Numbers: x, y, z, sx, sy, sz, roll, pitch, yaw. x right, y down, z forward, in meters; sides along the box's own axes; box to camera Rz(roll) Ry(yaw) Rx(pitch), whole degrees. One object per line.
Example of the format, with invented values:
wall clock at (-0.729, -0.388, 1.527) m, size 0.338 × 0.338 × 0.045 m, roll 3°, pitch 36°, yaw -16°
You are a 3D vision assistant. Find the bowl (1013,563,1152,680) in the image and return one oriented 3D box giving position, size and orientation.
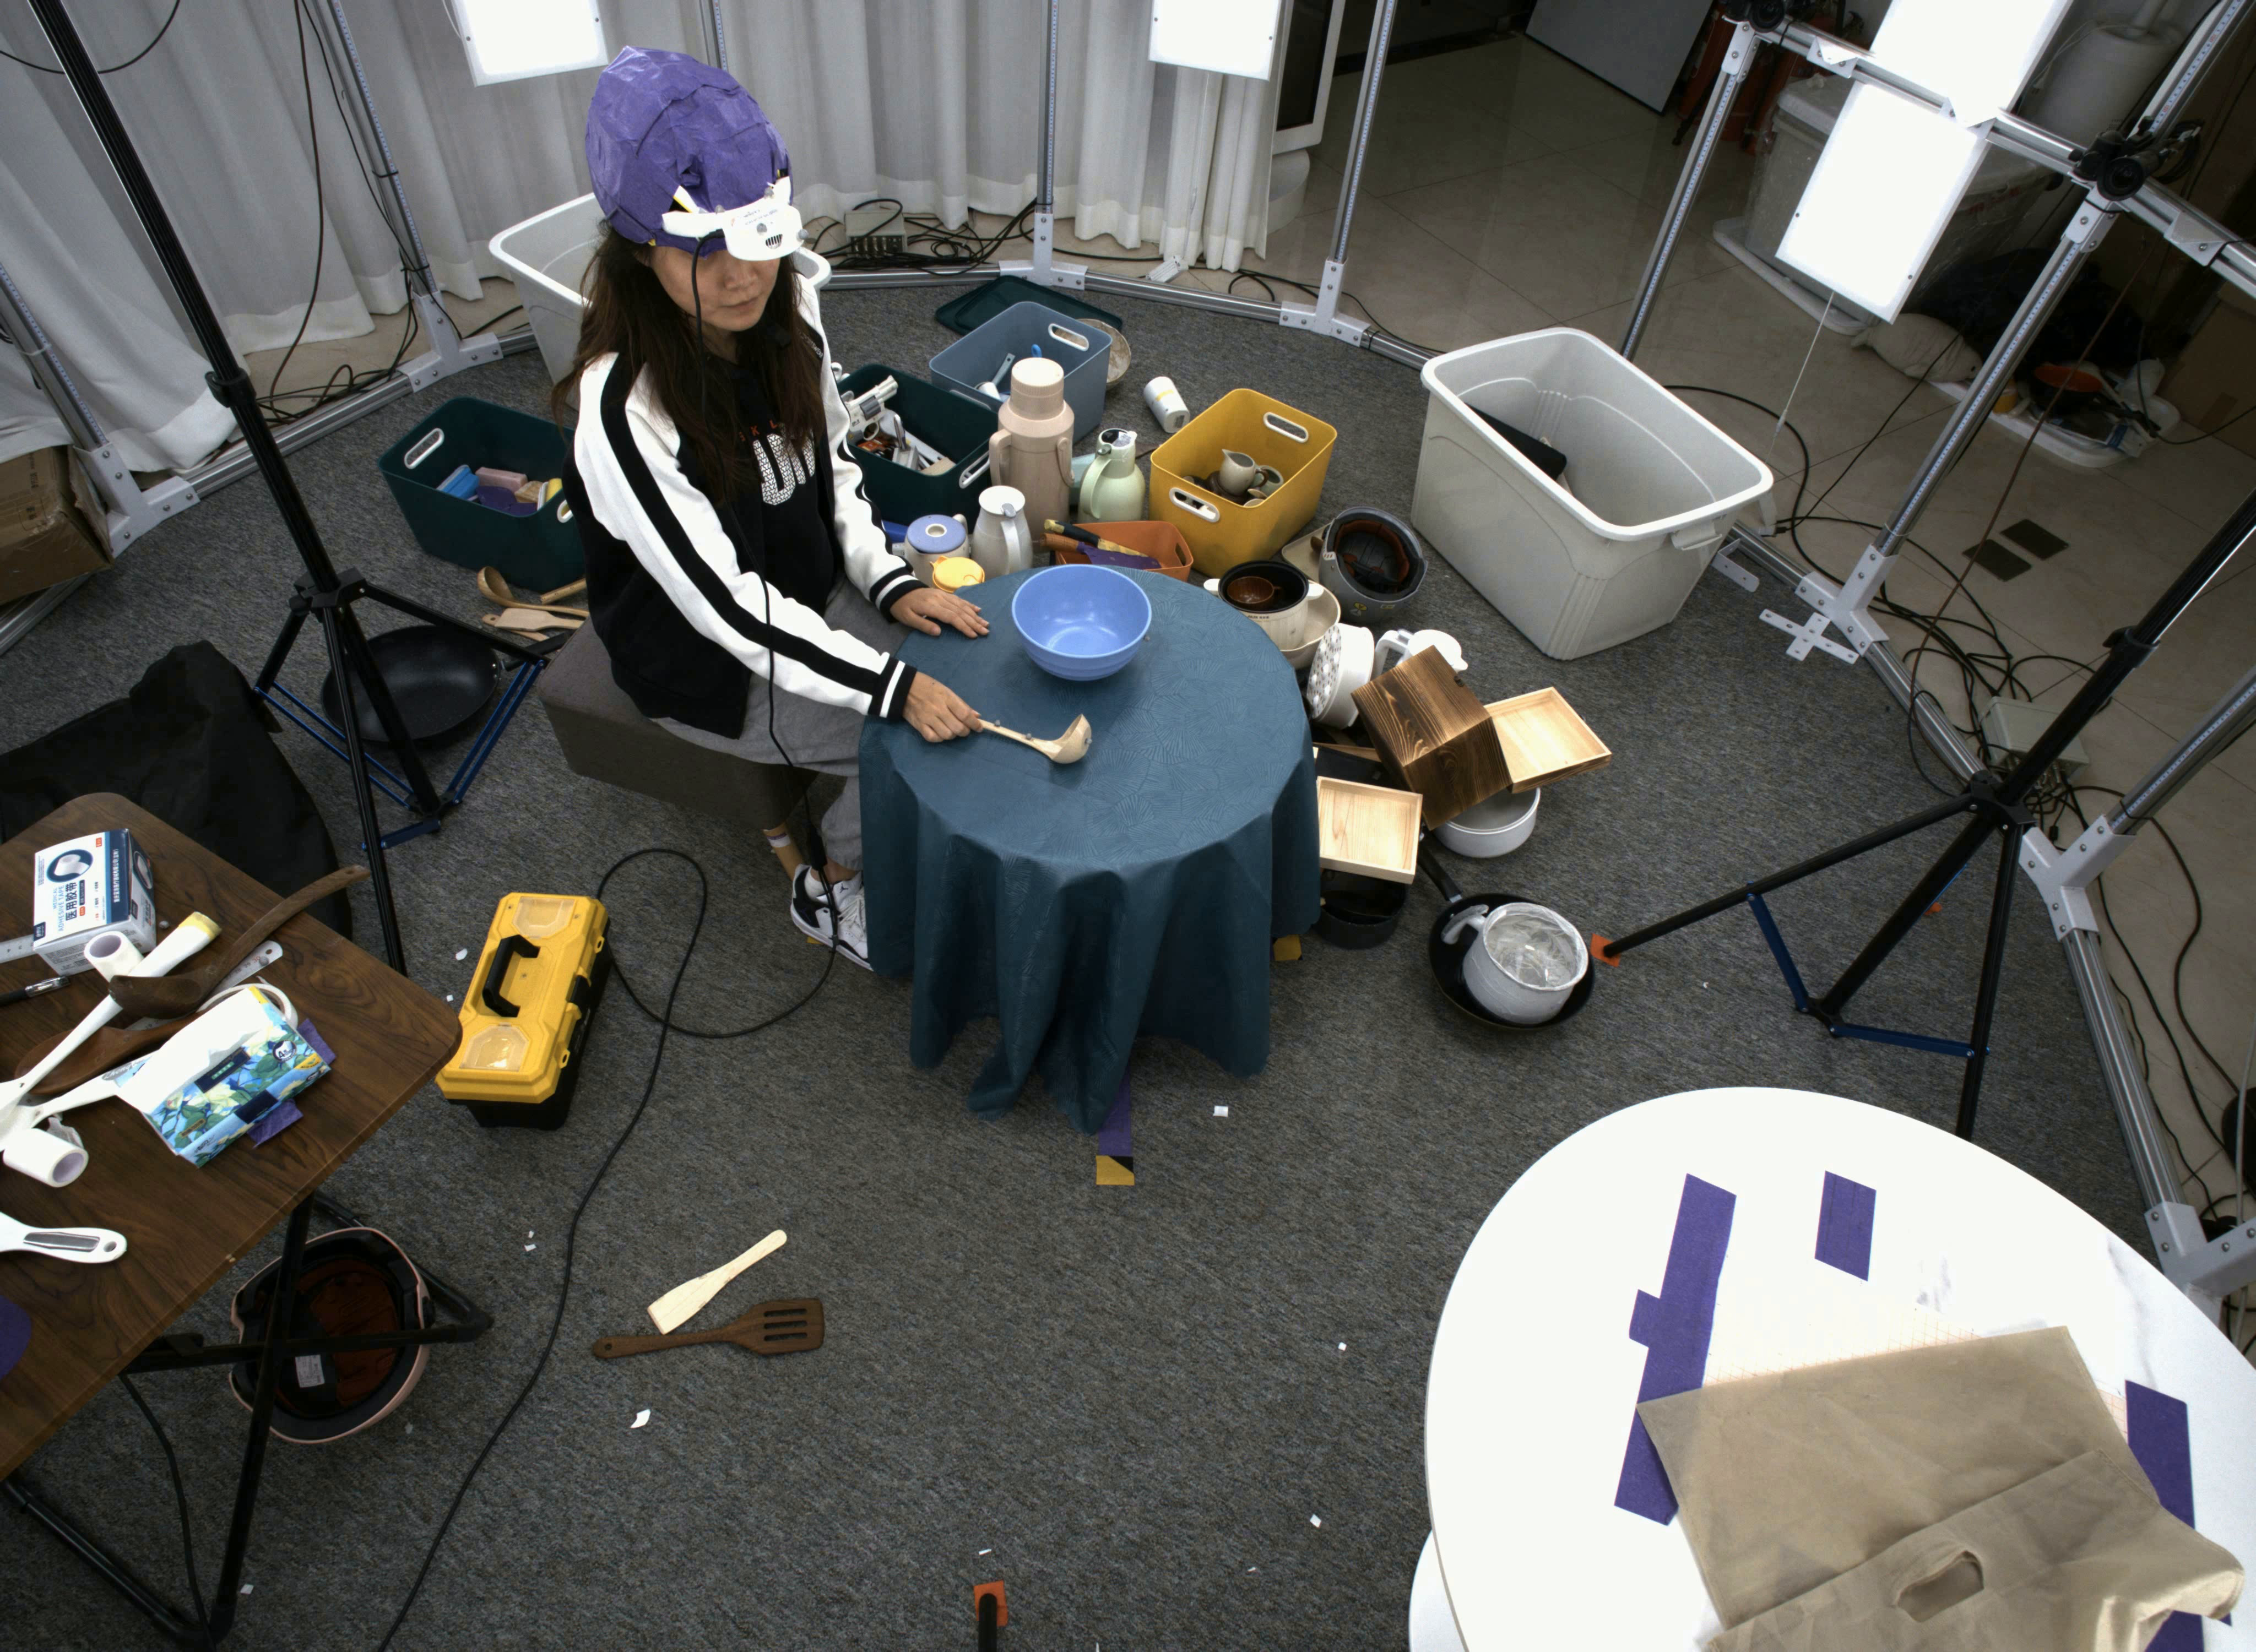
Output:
bowl at (-0.068, -0.277, 1.843) m, size 0.196 × 0.093 × 0.201 m, roll 4°, pitch 49°, yaw -4°

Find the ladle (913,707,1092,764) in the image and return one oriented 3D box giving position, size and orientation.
ladle at (-0.174, -0.146, 1.736) m, size 0.255 × 0.071 × 0.073 m, roll 16°, pitch 51°, yaw 9°
